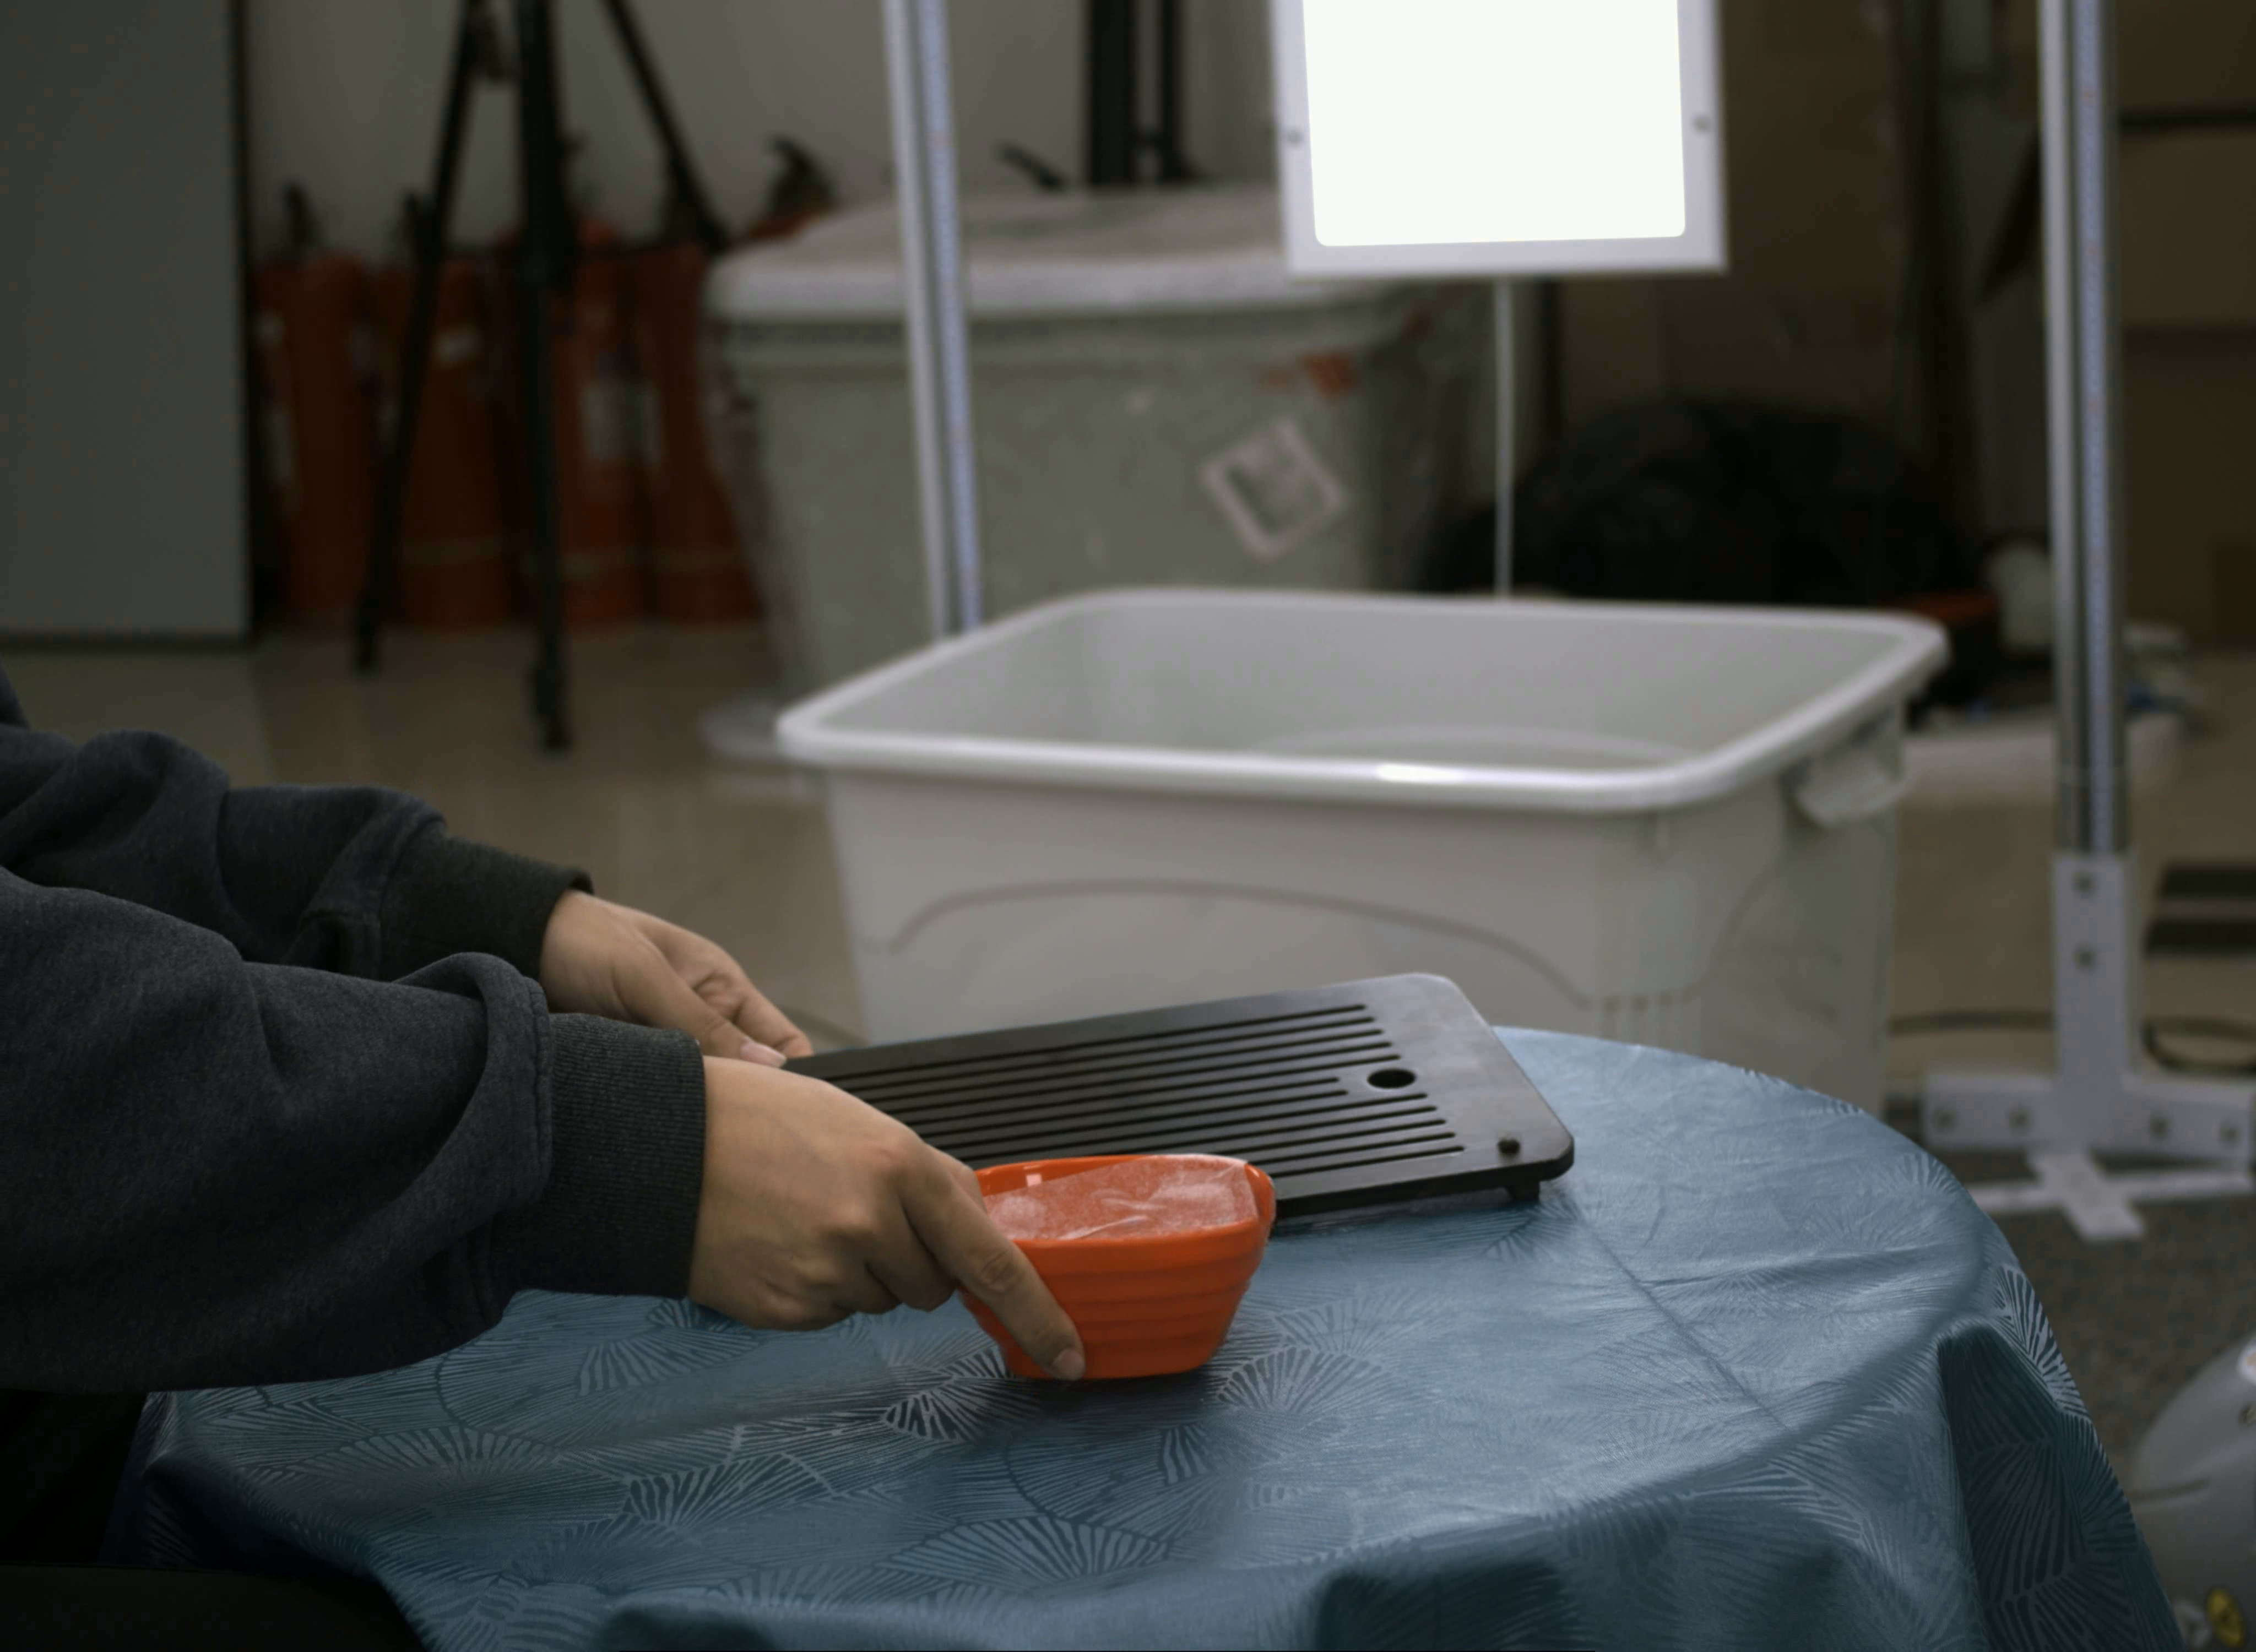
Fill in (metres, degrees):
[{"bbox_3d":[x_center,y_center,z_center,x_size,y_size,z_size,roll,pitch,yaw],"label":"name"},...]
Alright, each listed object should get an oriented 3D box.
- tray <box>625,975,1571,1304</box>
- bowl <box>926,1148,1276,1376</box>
[{"bbox_3d":[-0.013,0.107,1.901,0.303,0.019,0.171,-8,21,-9],"label":"tray"},{"bbox_3d":[-0.008,0.138,1.719,0.118,0.051,0.119,-2,11,-1],"label":"bowl"}]
